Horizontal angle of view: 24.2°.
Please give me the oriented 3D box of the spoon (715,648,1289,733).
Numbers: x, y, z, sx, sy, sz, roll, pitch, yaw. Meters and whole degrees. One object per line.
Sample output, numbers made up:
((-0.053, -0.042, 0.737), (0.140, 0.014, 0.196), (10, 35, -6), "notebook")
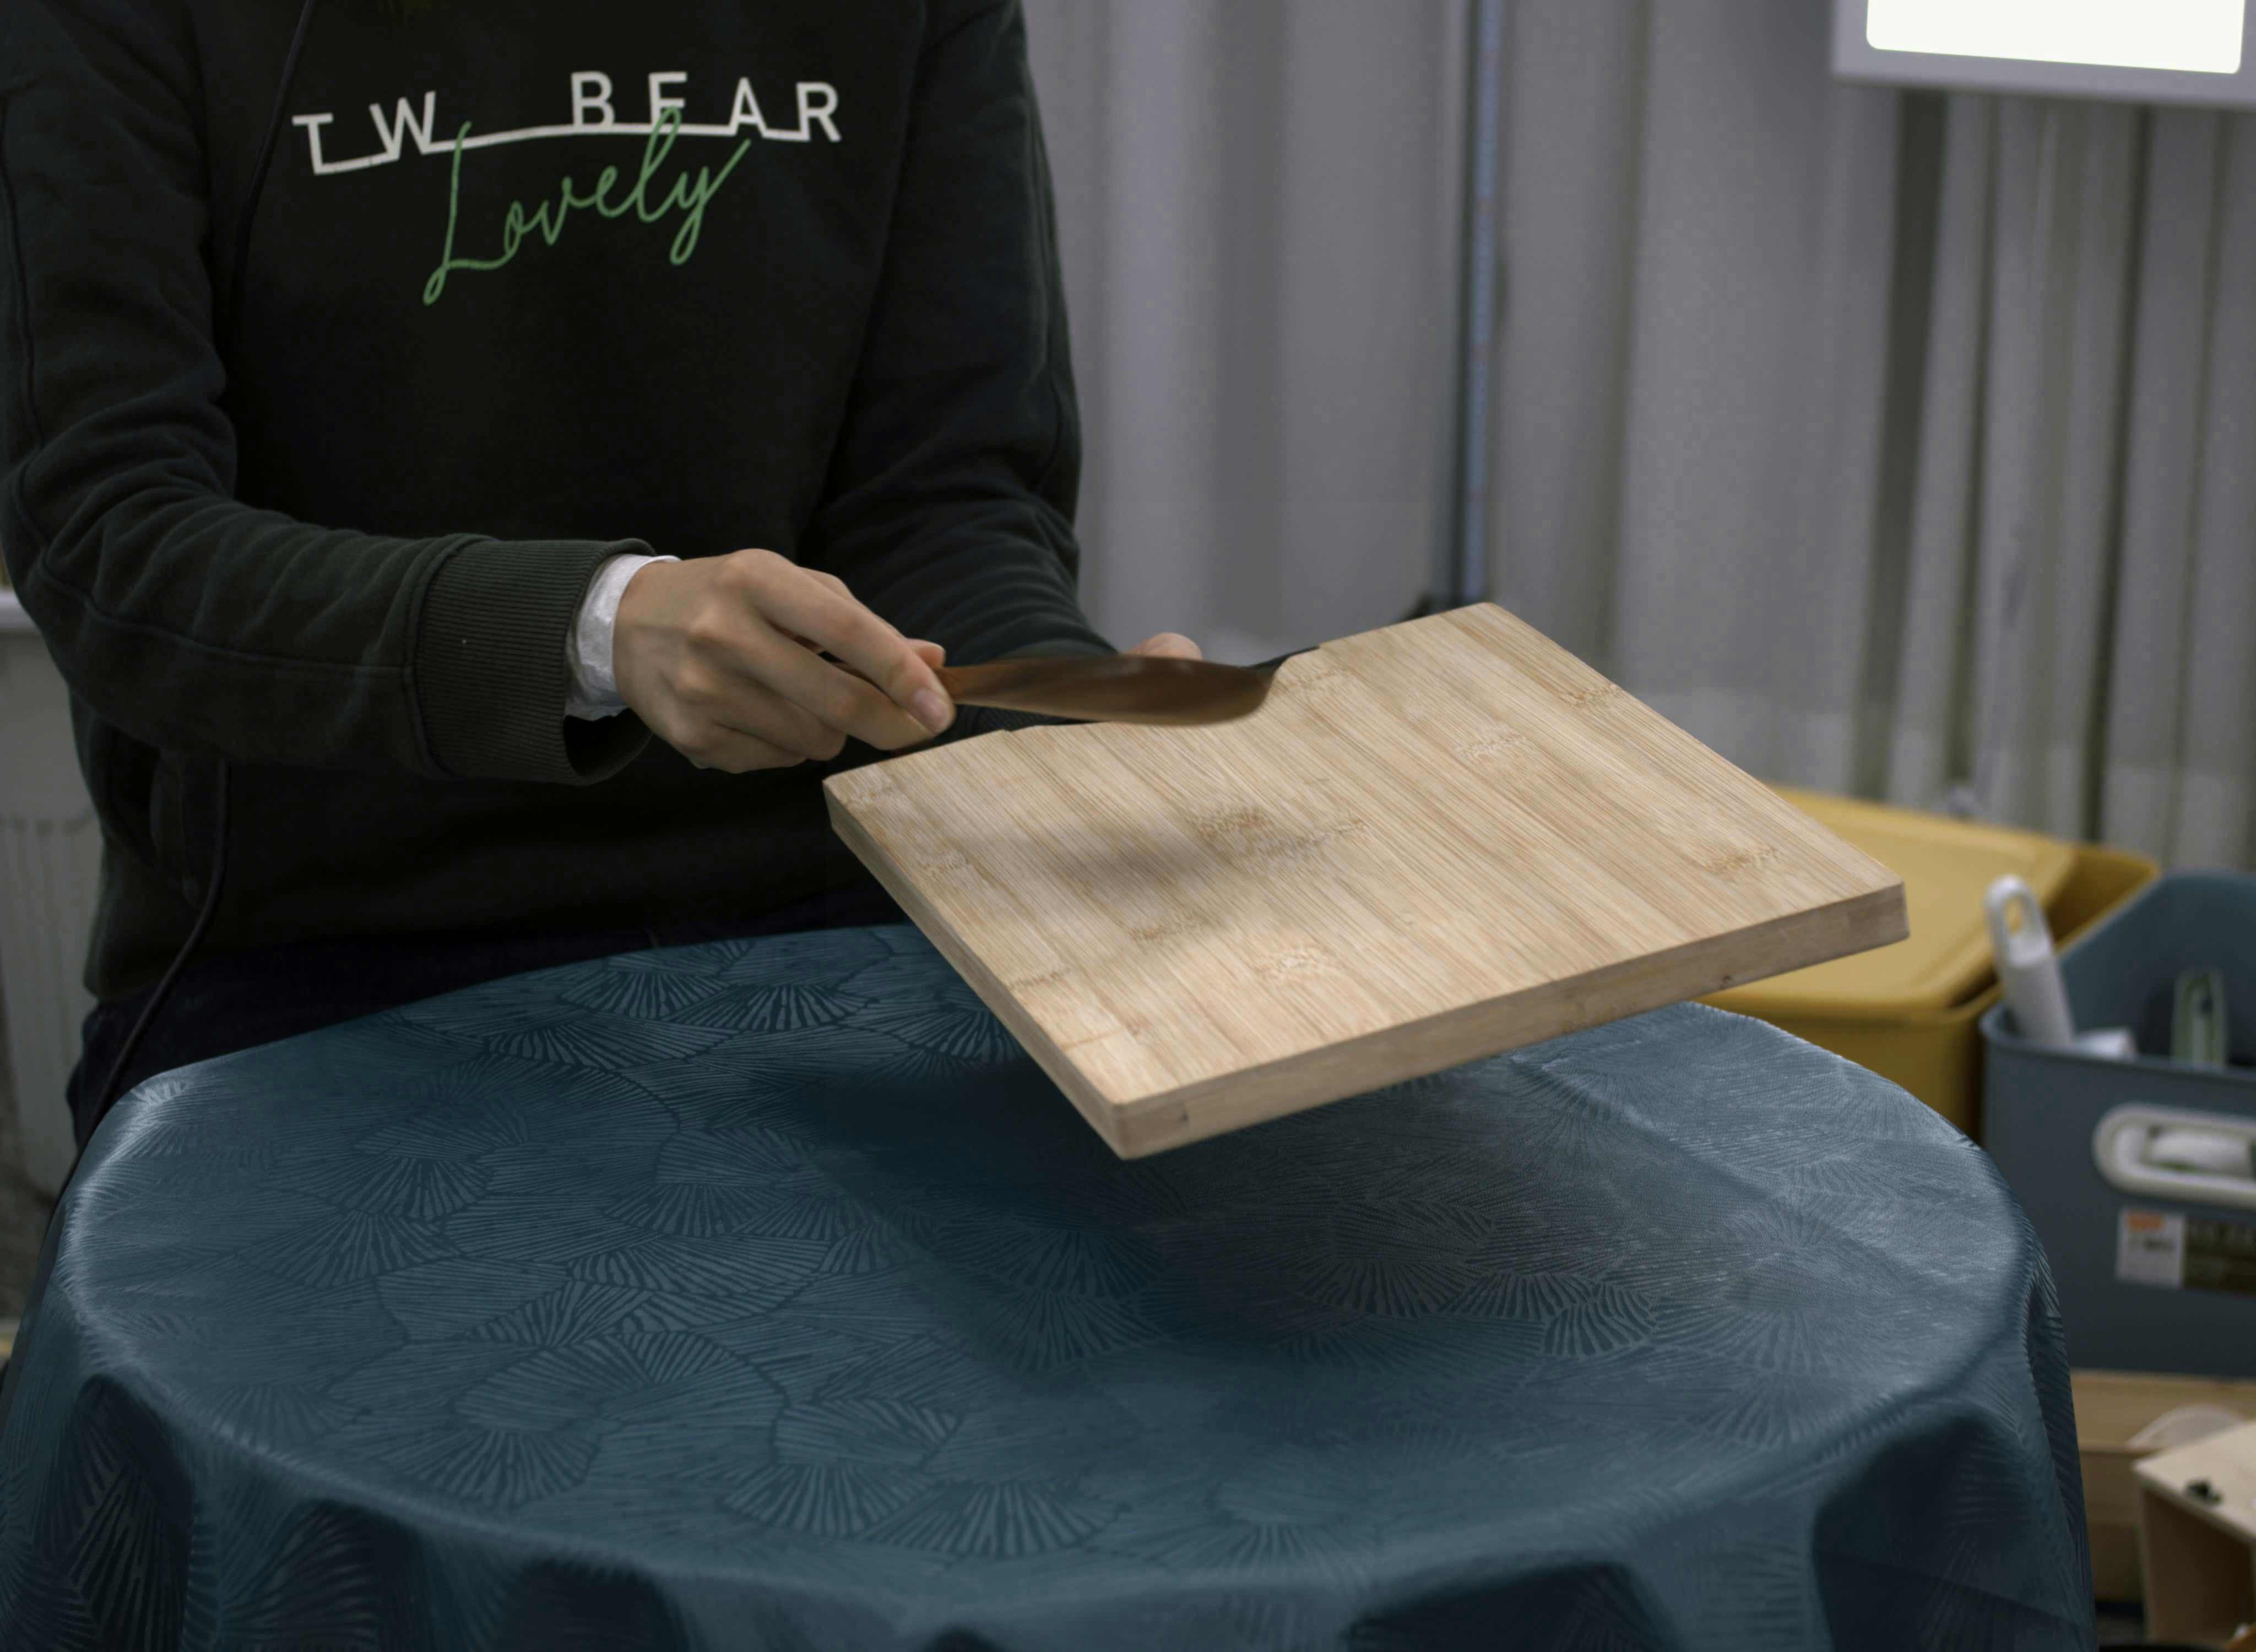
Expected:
((-0.044, -0.042, 1.629), (0.213, 0.017, 0.076), (4, -2, 37), "spoon")

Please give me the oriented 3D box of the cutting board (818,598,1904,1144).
((0.059, 0.006, 1.624), (0.251, 0.024, 0.345), (-14, 20, -14), "cutting board")
